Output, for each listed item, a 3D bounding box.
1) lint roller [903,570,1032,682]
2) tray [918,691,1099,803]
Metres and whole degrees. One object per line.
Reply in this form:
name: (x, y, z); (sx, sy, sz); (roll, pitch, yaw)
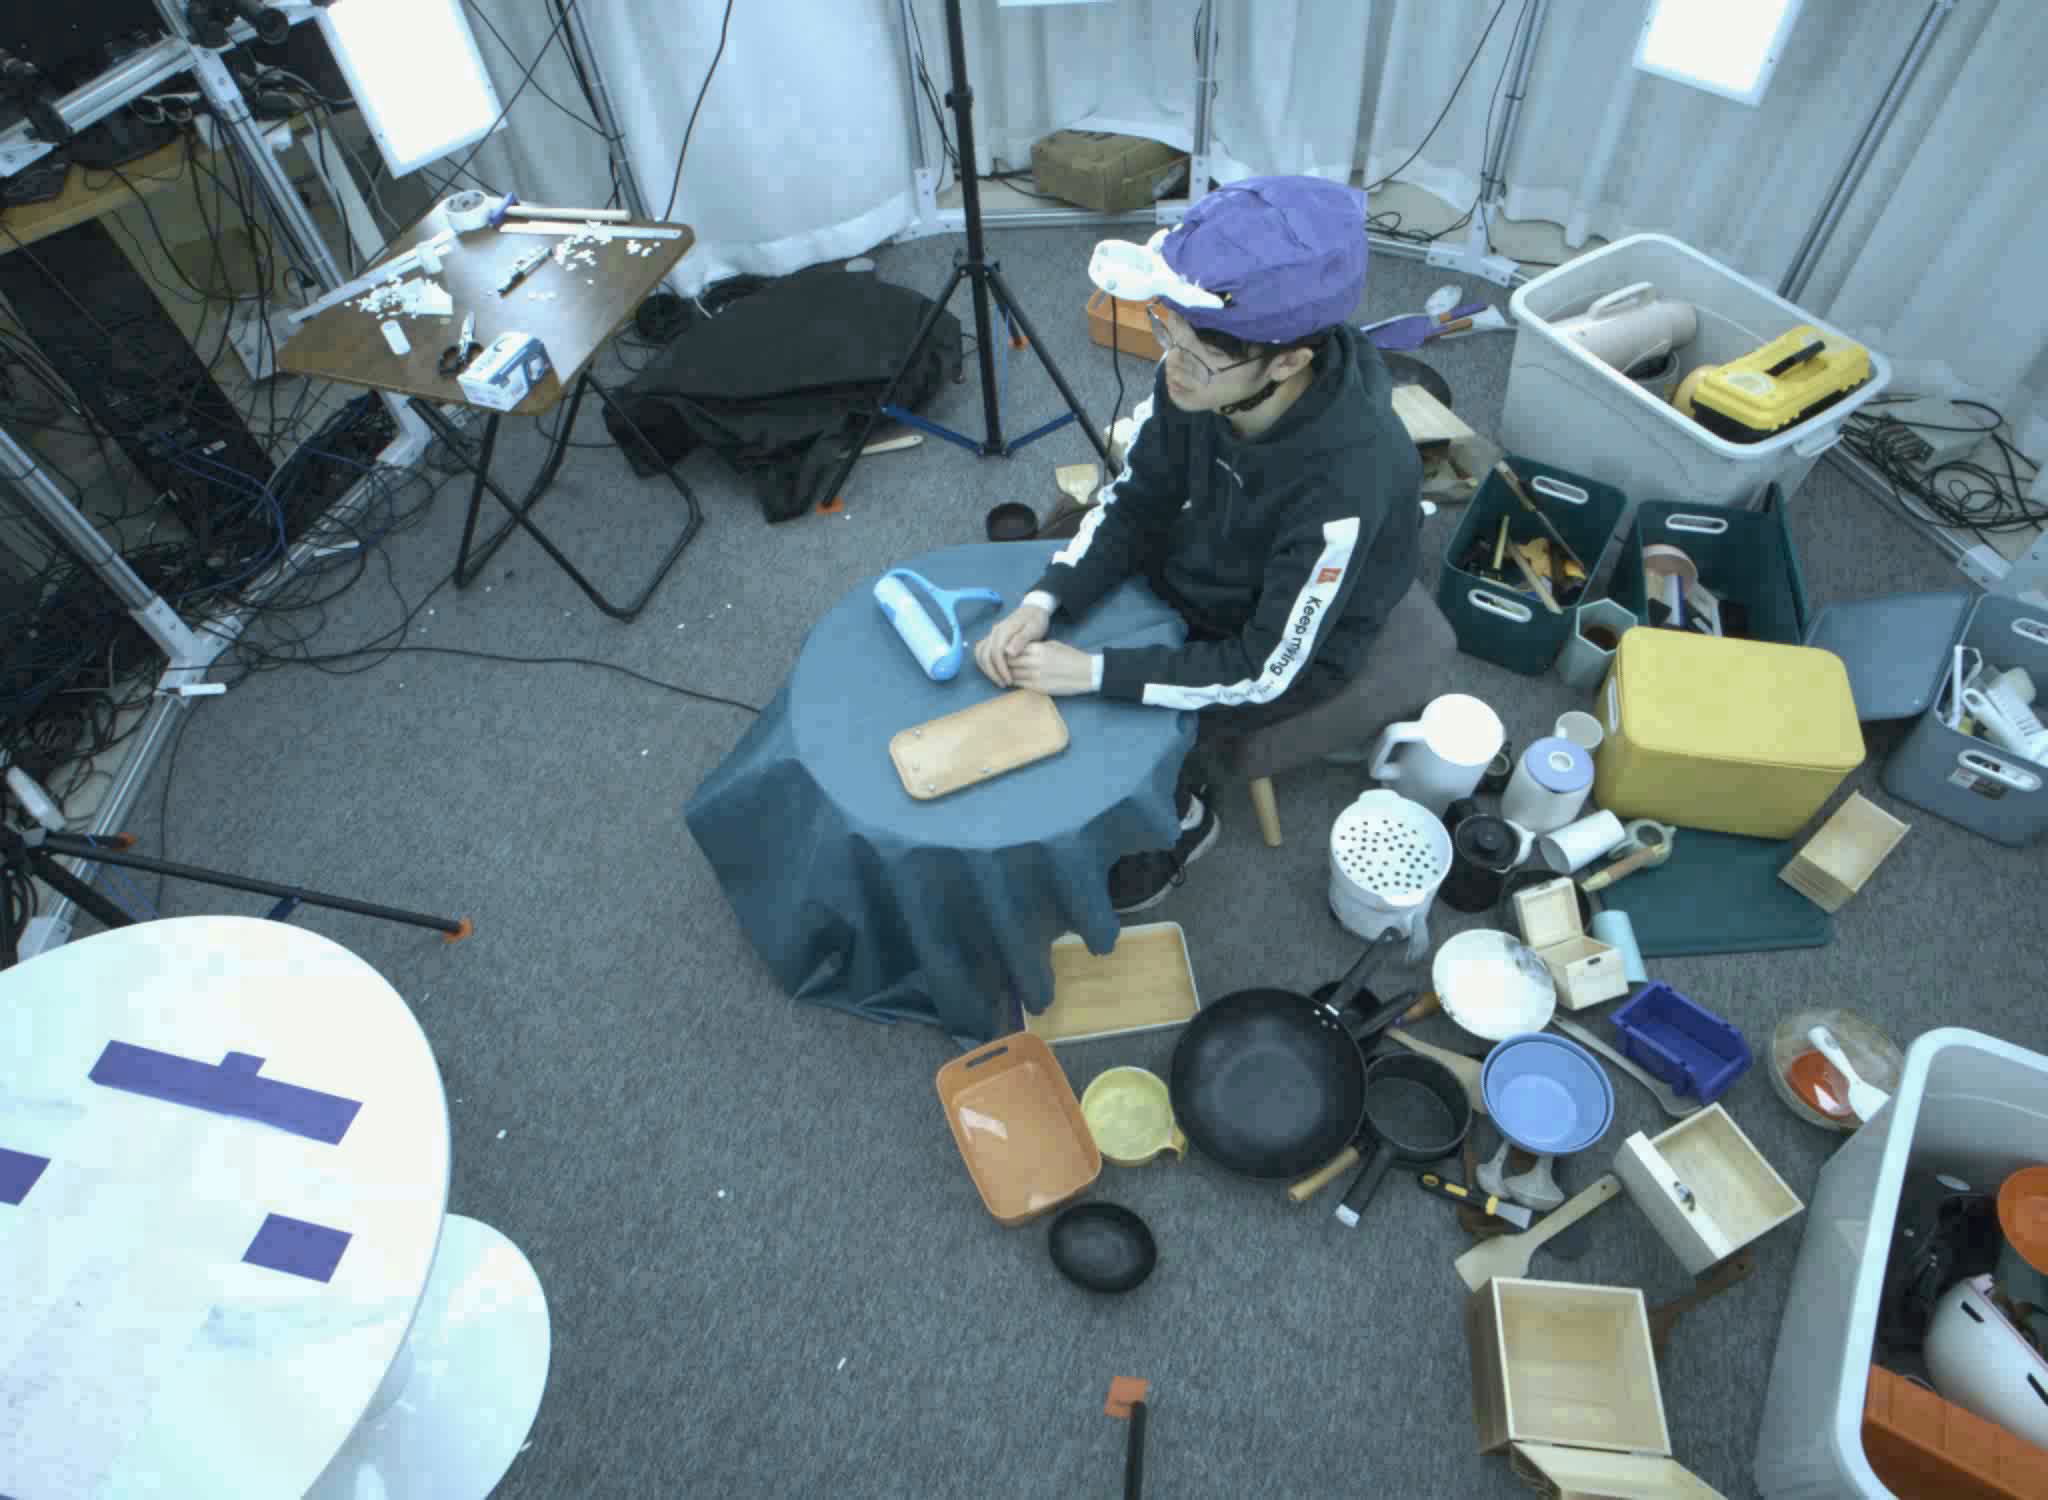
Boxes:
lint roller: (-0.071, -0.215, 1.903); (0.181, 0.069, 0.224); (-28, 57, -15)
tray: (-0.023, -0.005, 1.777); (0.252, 0.023, 0.128); (-17, 58, -11)
